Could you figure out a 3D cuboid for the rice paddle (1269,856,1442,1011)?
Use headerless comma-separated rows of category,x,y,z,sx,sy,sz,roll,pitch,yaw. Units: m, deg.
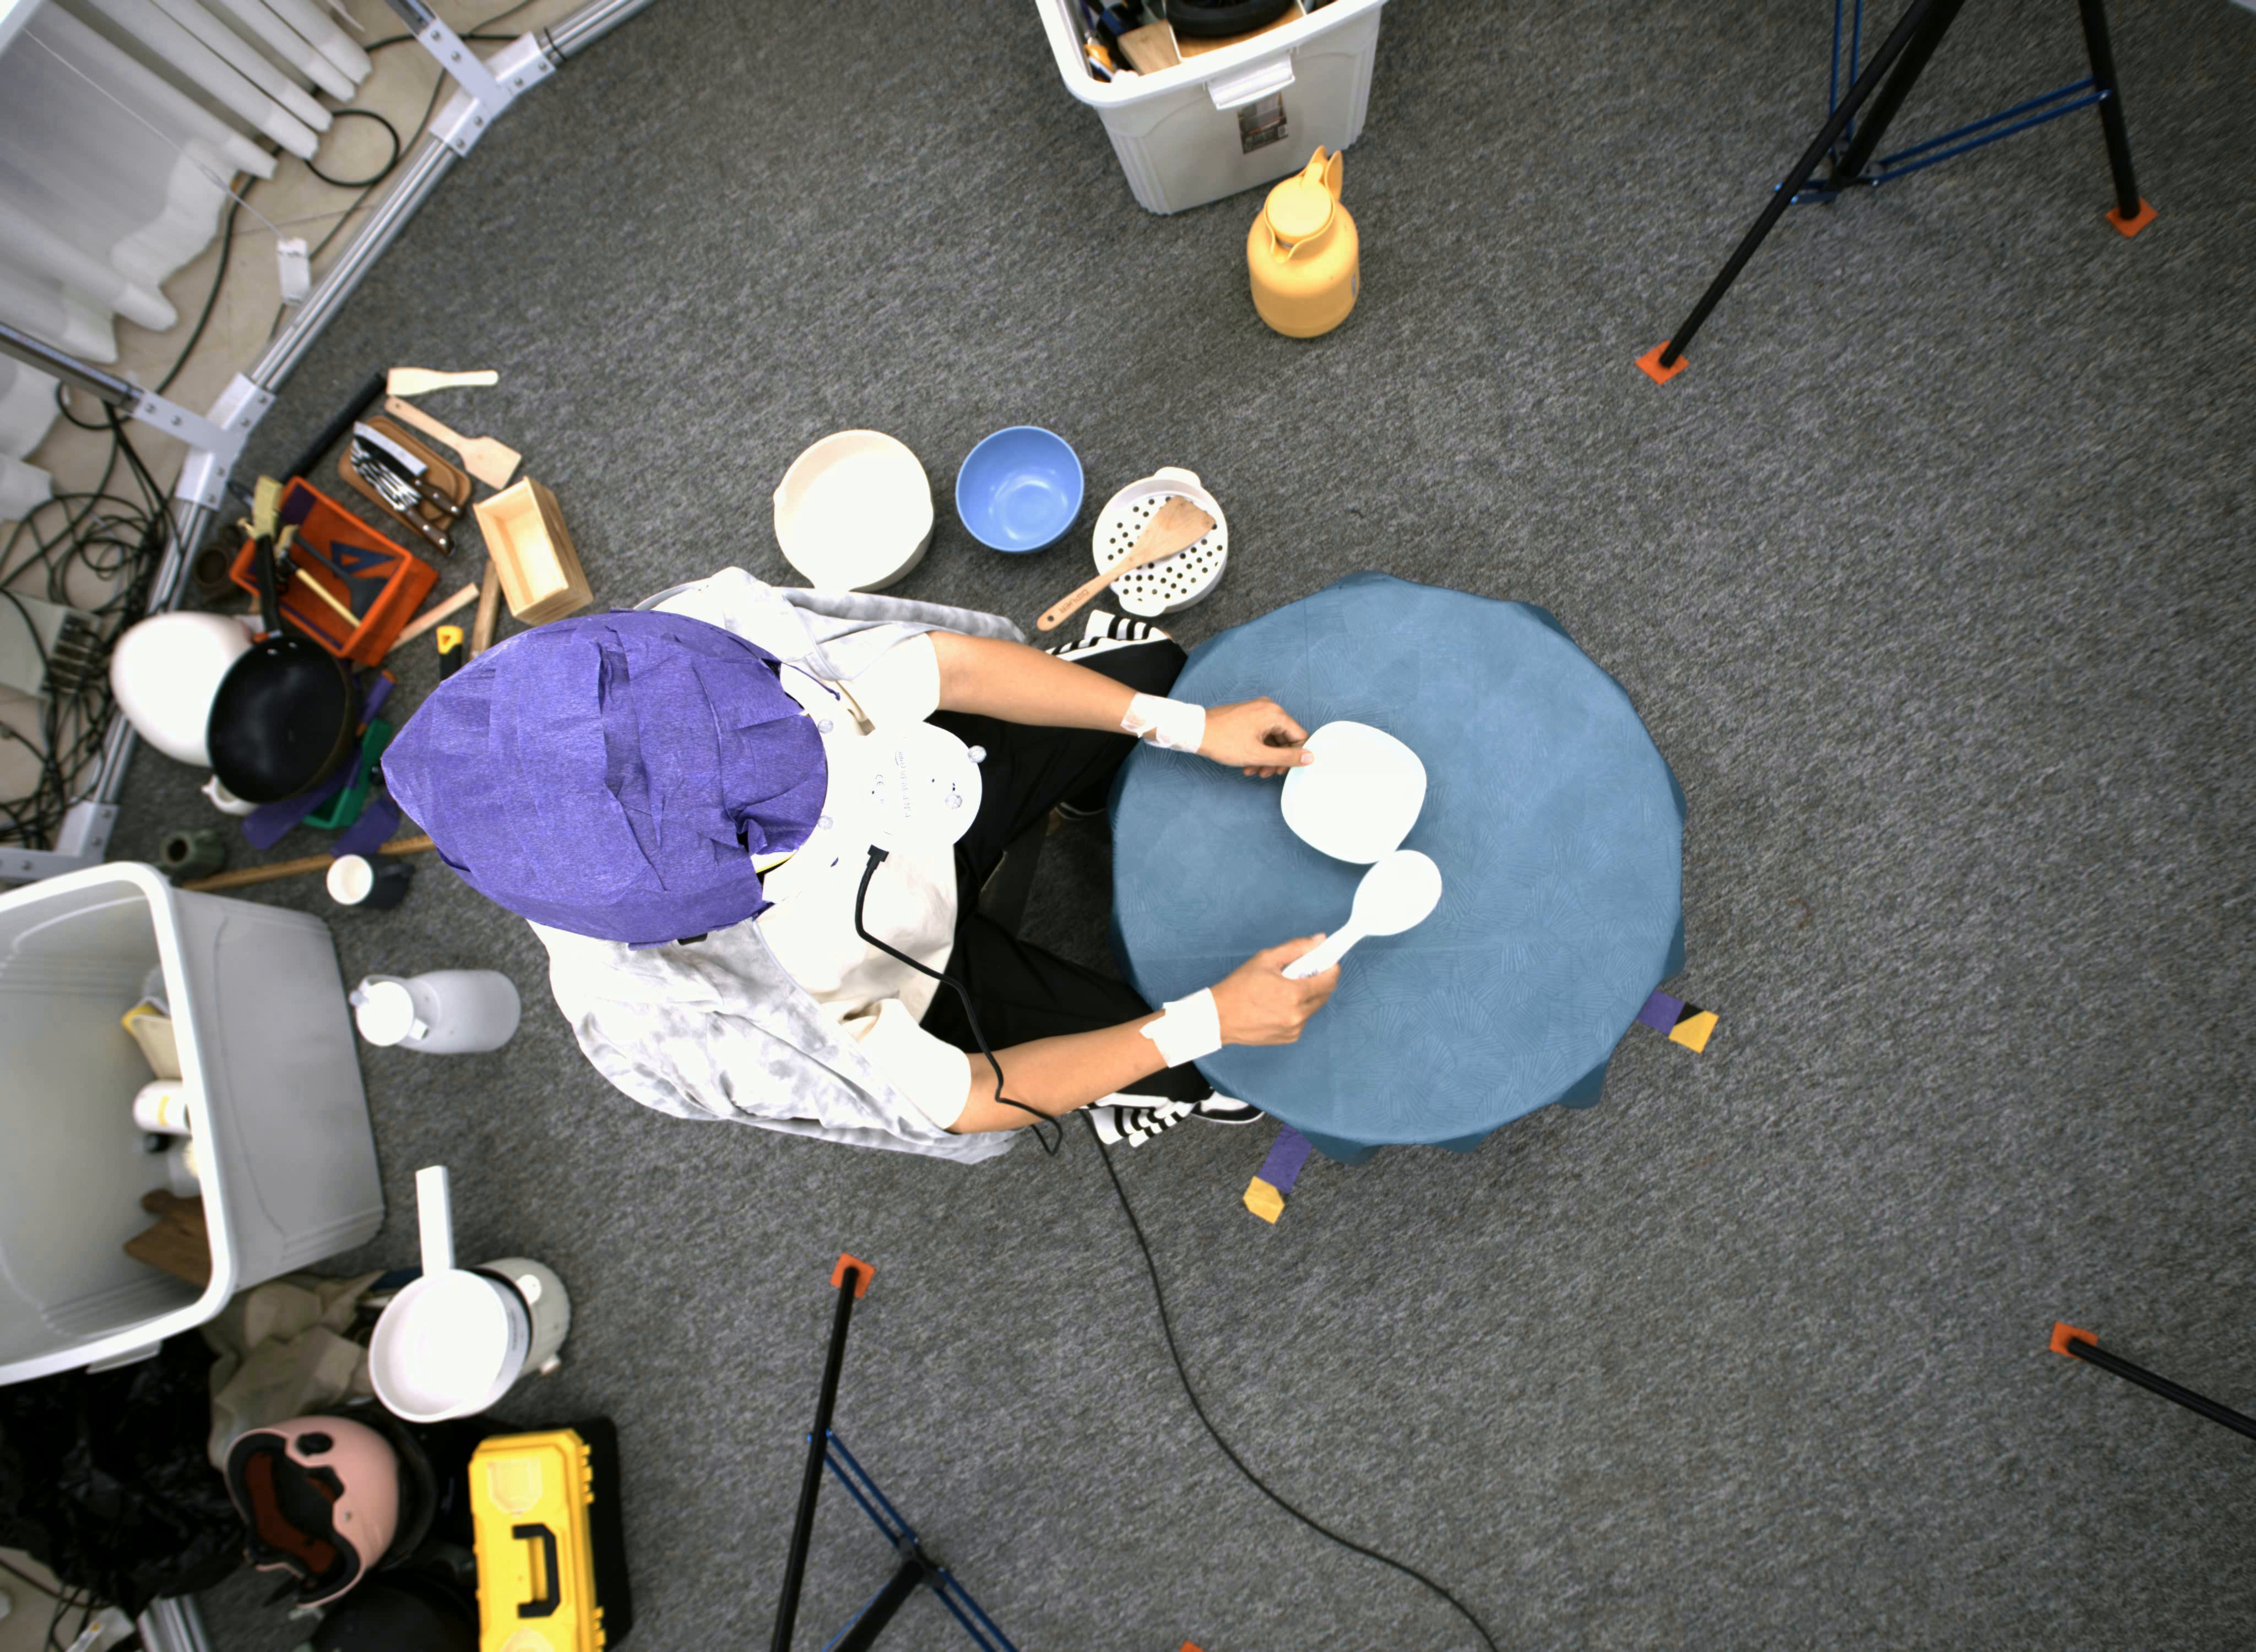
rice paddle,0.226,0.105,1.363,0.206,0.029,0.069,-40,96,3

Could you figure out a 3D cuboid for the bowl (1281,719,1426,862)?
bowl,0.234,-0.035,1.441,0.152,0.058,0.151,0,88,8
